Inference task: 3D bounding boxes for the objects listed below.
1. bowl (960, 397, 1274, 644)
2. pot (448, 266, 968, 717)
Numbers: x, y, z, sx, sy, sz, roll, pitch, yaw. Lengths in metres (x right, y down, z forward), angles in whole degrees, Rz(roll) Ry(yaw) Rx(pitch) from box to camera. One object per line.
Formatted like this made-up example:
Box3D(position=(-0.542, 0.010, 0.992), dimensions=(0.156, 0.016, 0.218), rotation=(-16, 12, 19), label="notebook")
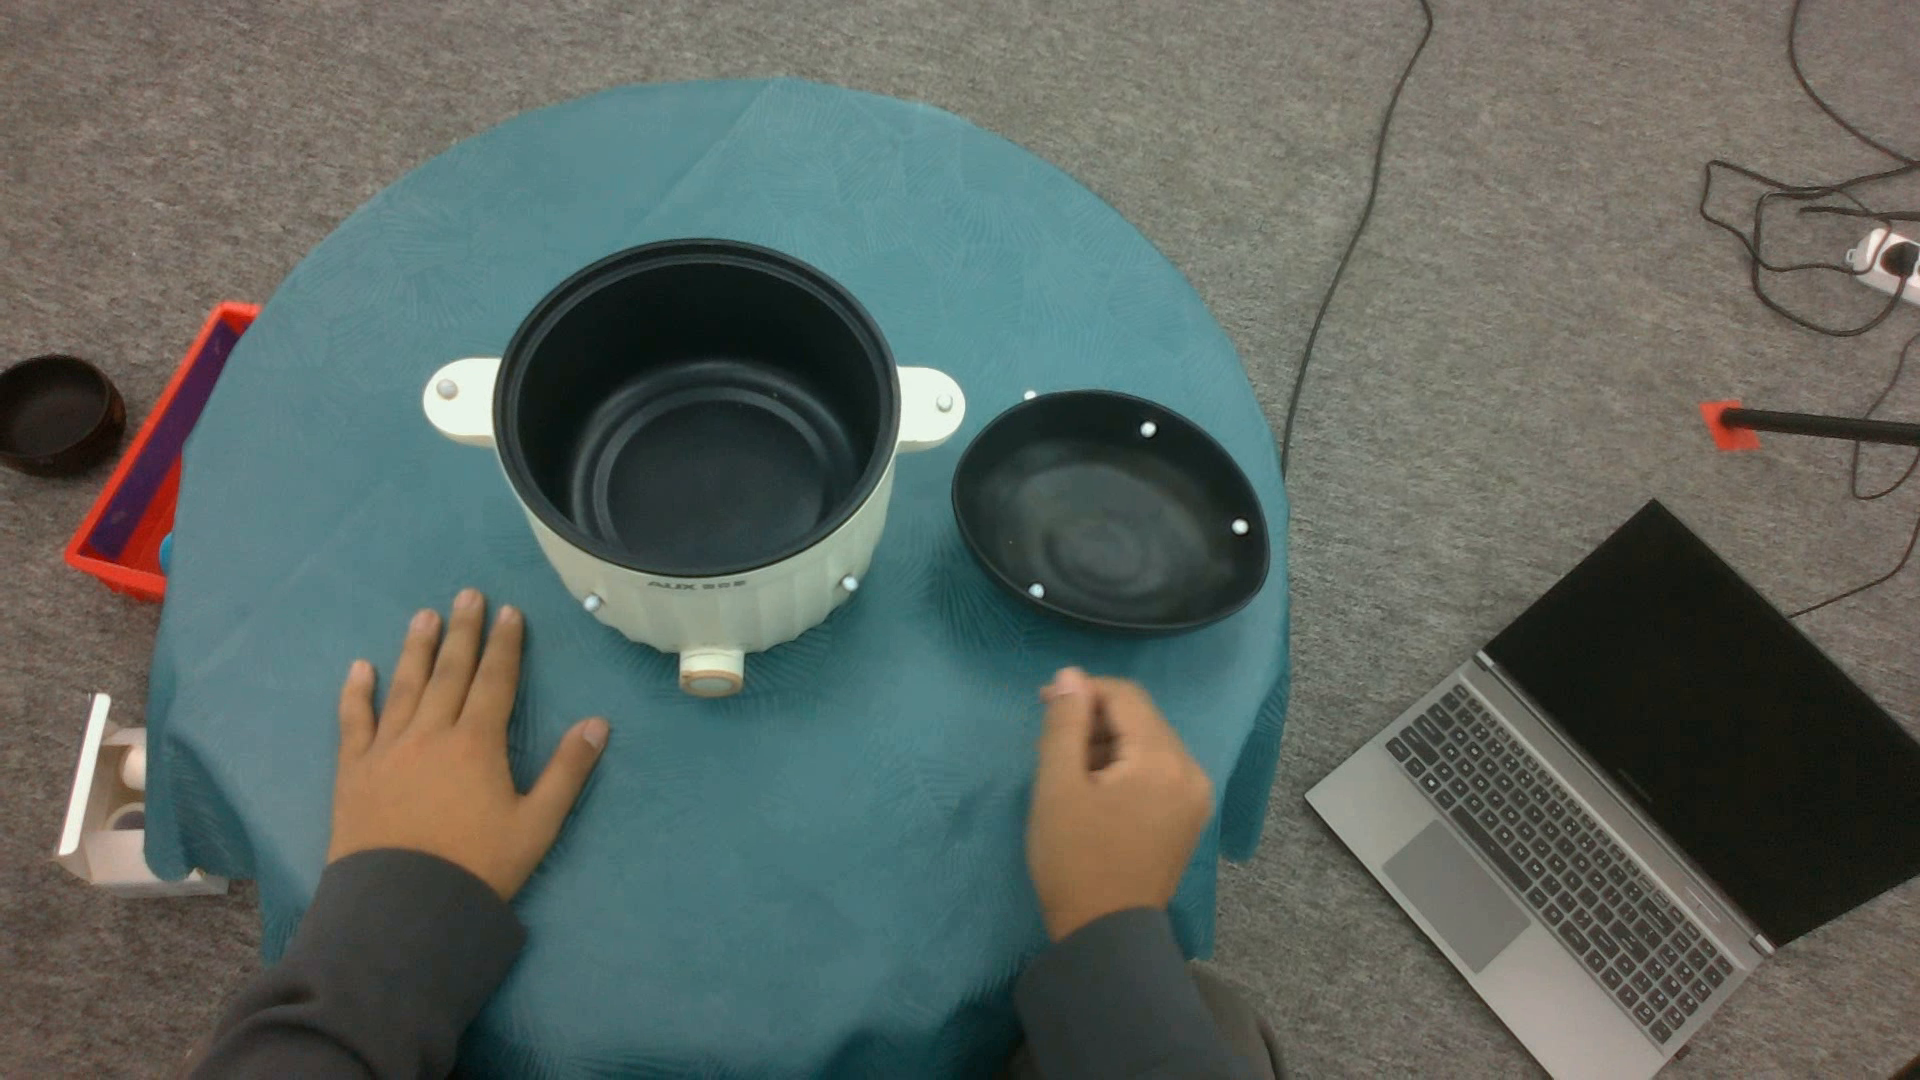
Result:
Box3D(position=(0.082, -0.002, 0.740), dimensions=(0.170, 0.066, 0.138), rotation=(13, 63, 1), label="bowl")
Box3D(position=(-0.117, -0.020, 0.695), dimensions=(0.240, 0.142, 0.191), rotation=(-4, 60, -4), label="pot")
